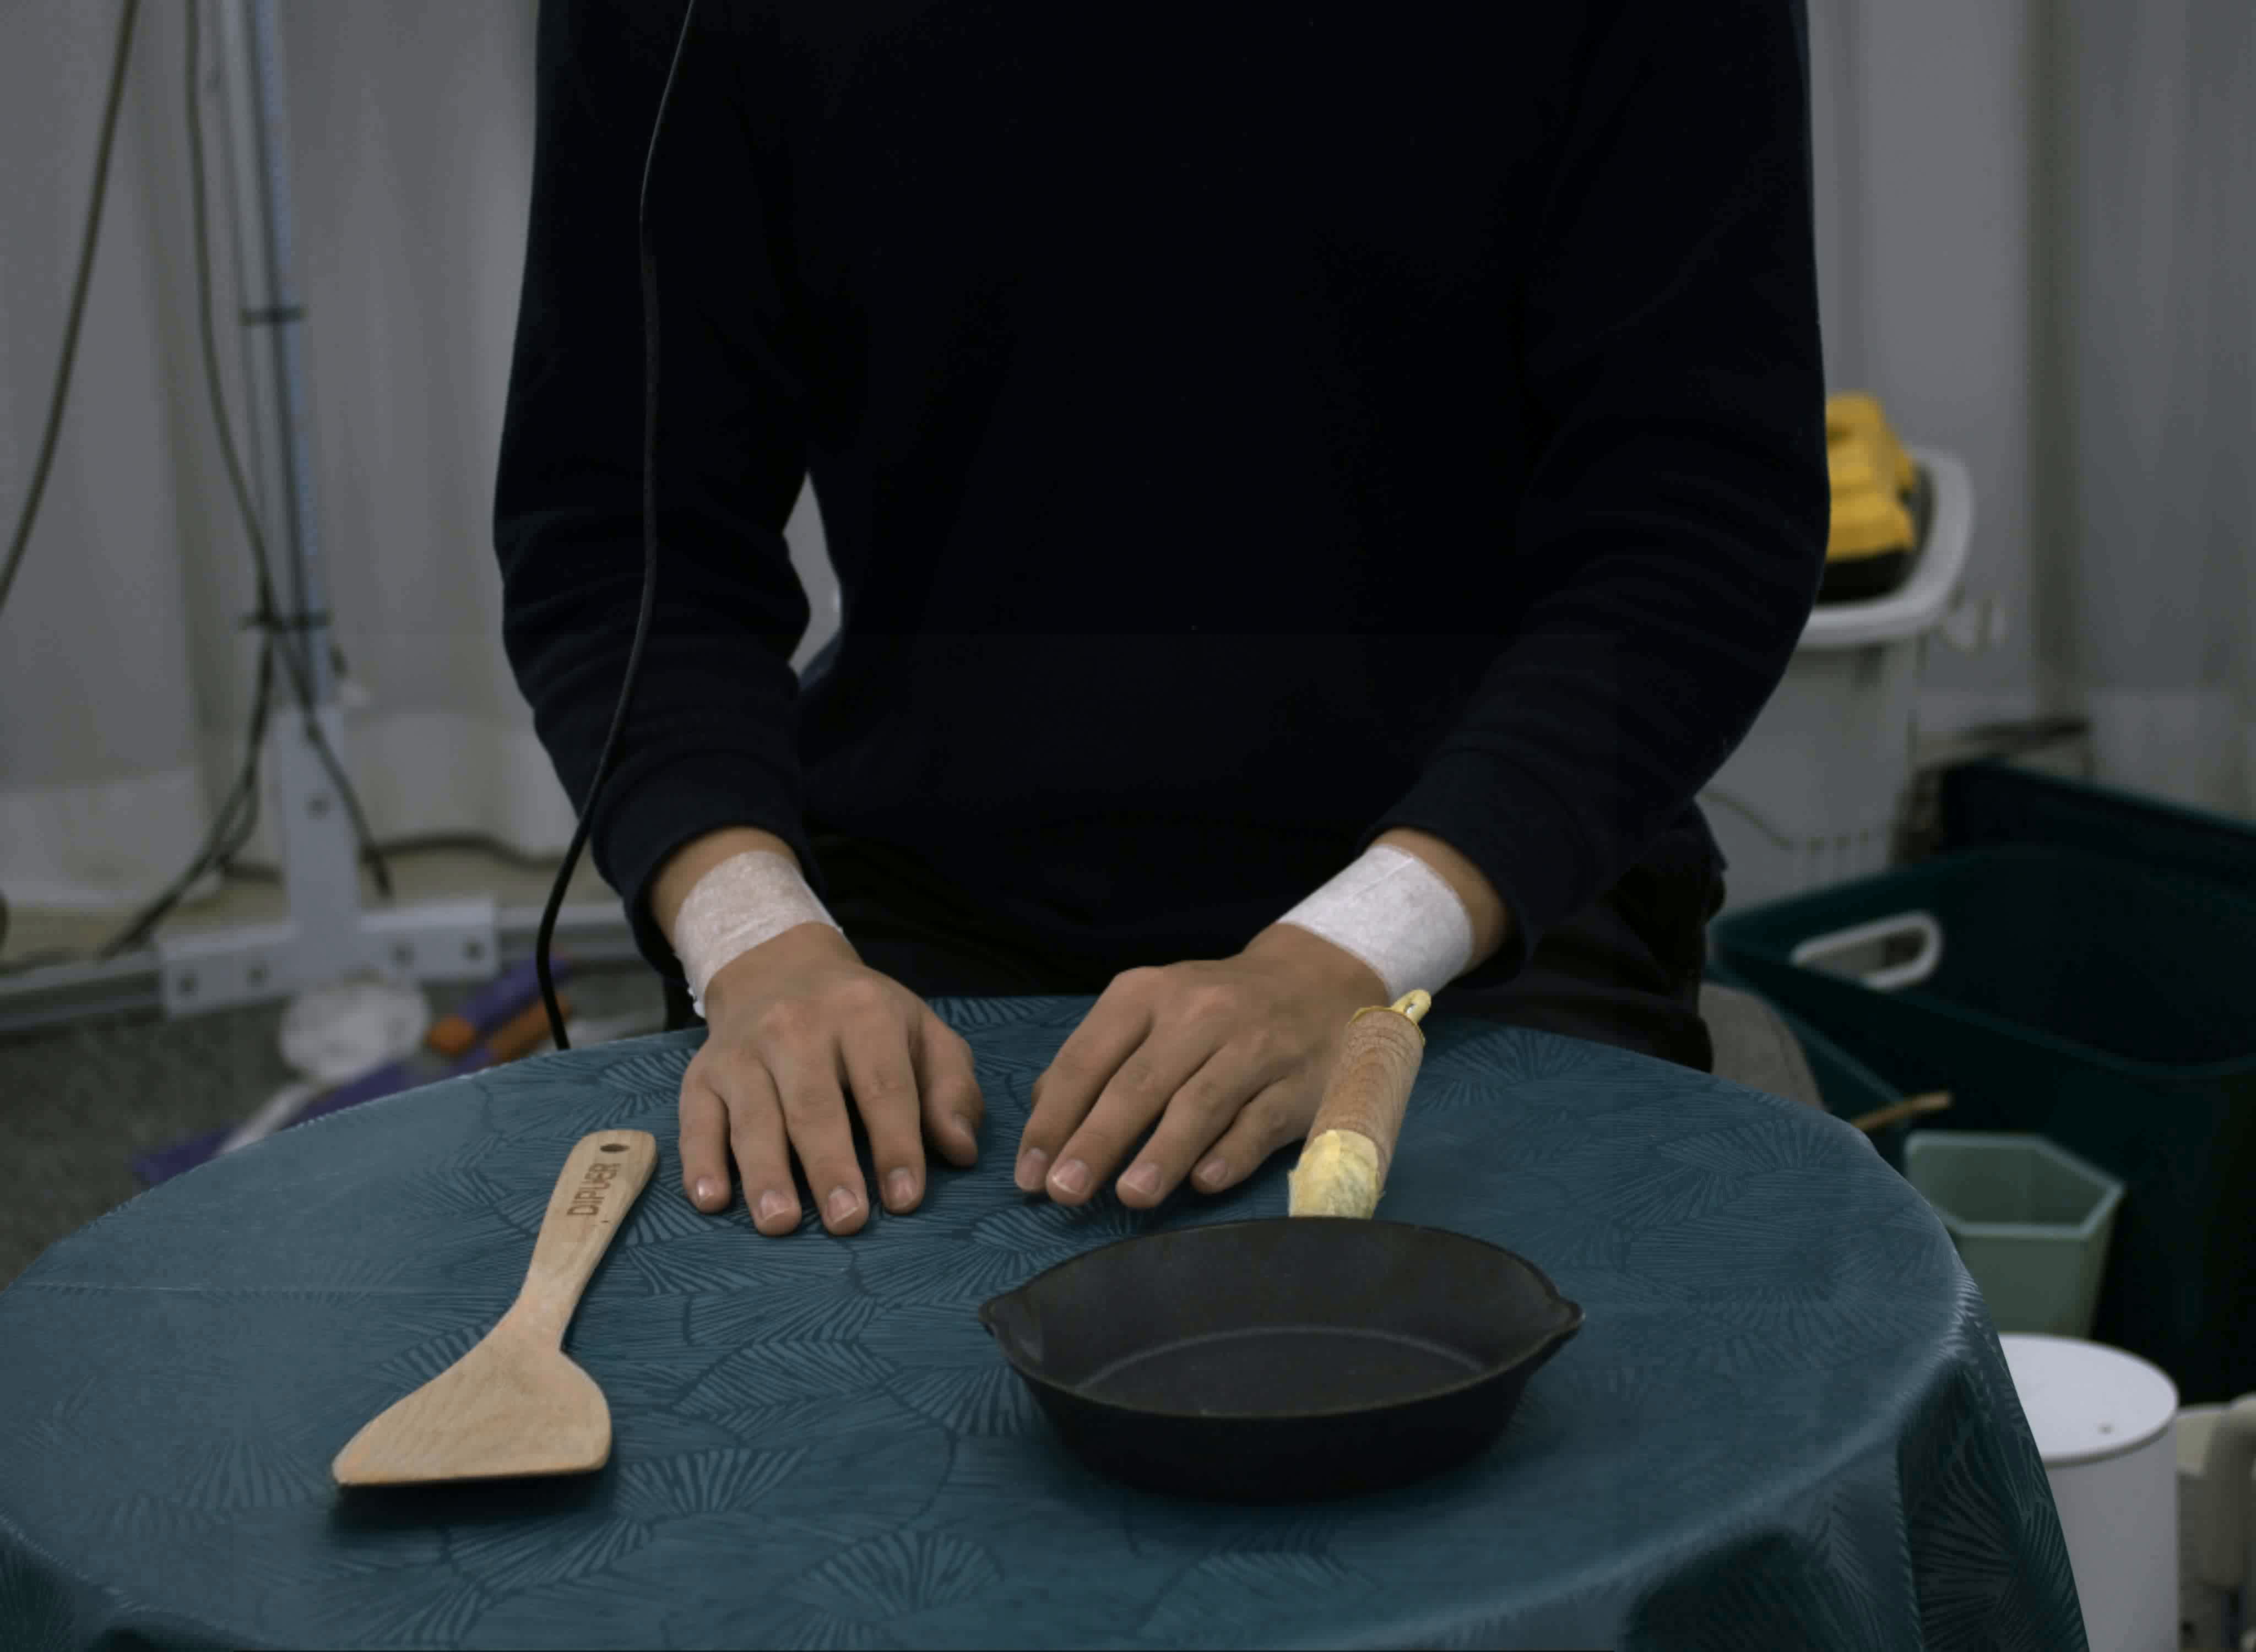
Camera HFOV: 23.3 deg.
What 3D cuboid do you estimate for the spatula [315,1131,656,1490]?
[{"bbox_3d":[-0.172,0.141,1.622,0.080,0.016,0.329,-1,15,3],"label":"spatula"}]

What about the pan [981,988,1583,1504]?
[{"bbox_3d":[0.059,0.119,1.592,0.169,0.049,0.326,0,17,12],"label":"pan"}]
